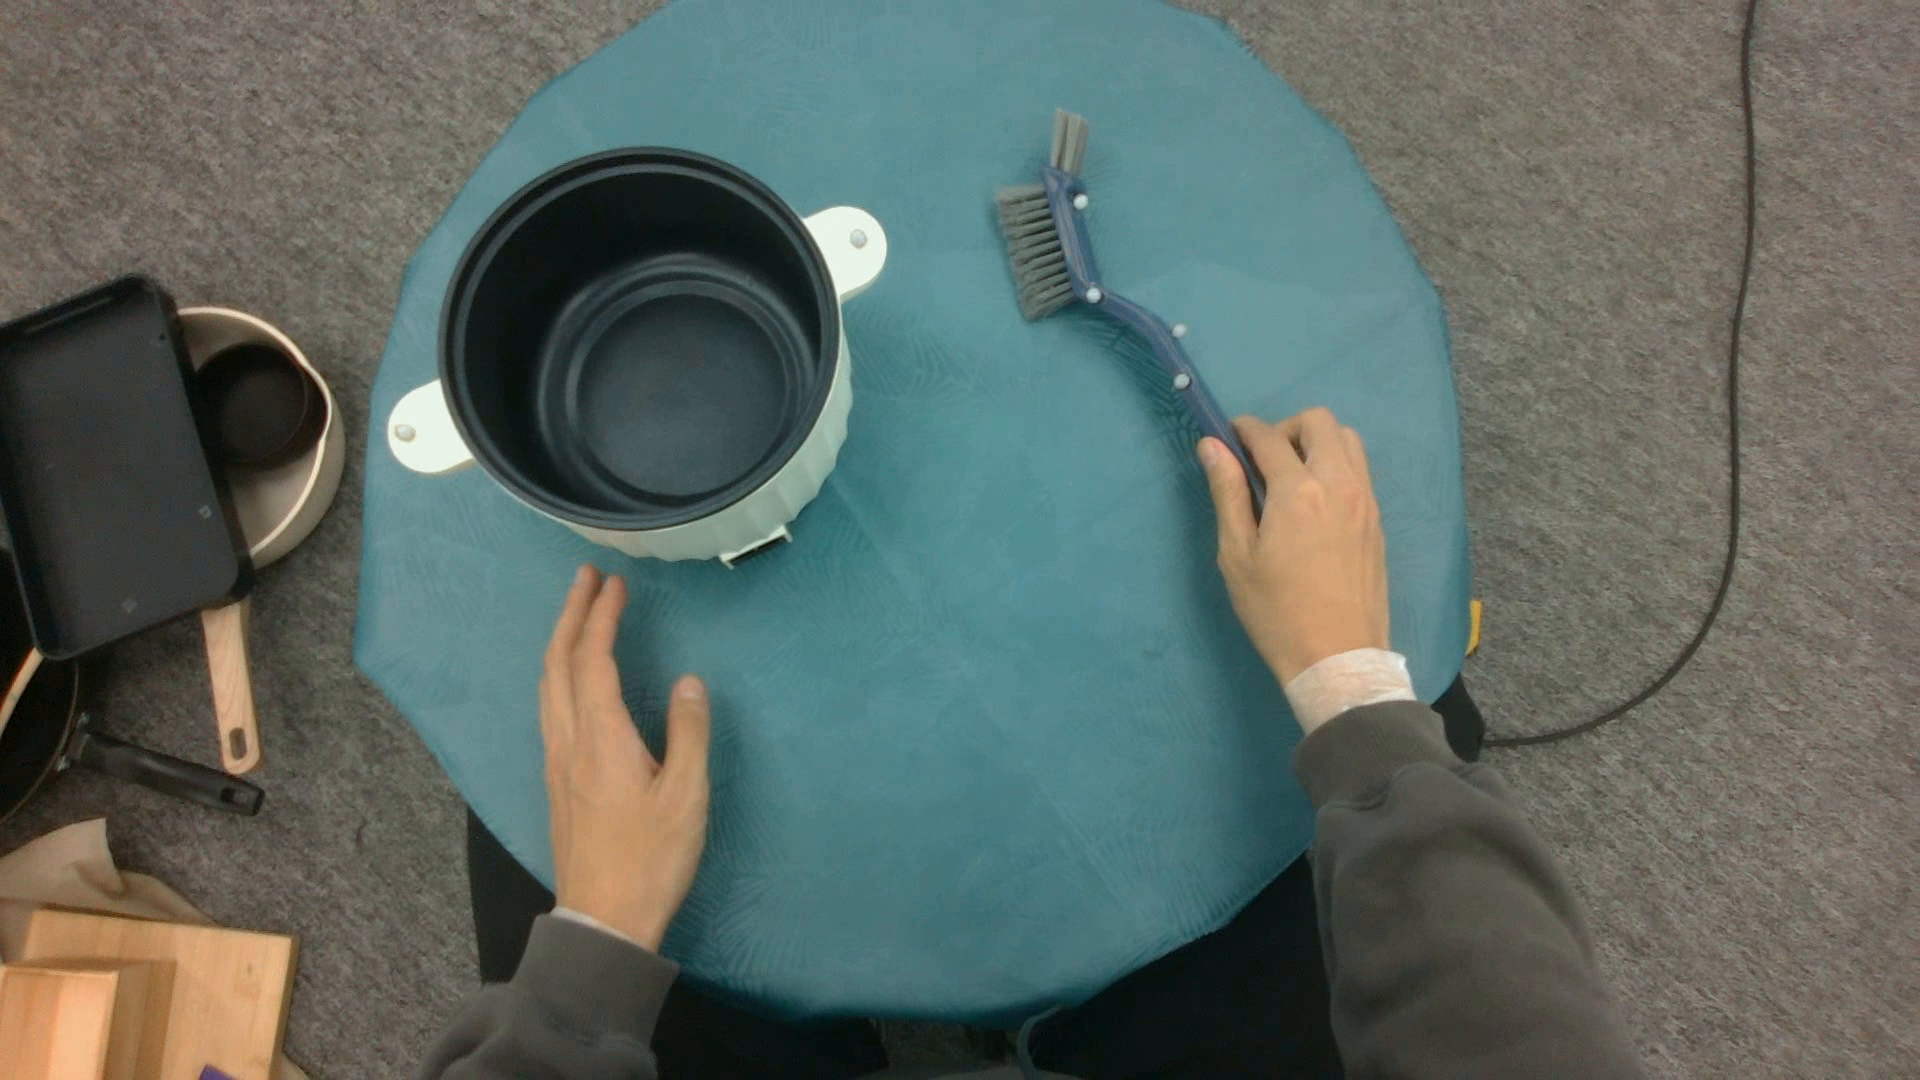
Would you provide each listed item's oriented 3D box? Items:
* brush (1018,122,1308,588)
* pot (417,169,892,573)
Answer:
[{"bbox_3d":[0.122,-0.099,0.747,0.095,0.033,0.273,-41,76,16],"label":"brush"},{"bbox_3d":[-0.145,-0.081,0.705,0.240,0.142,0.190,-26,83,-5],"label":"pot"}]
